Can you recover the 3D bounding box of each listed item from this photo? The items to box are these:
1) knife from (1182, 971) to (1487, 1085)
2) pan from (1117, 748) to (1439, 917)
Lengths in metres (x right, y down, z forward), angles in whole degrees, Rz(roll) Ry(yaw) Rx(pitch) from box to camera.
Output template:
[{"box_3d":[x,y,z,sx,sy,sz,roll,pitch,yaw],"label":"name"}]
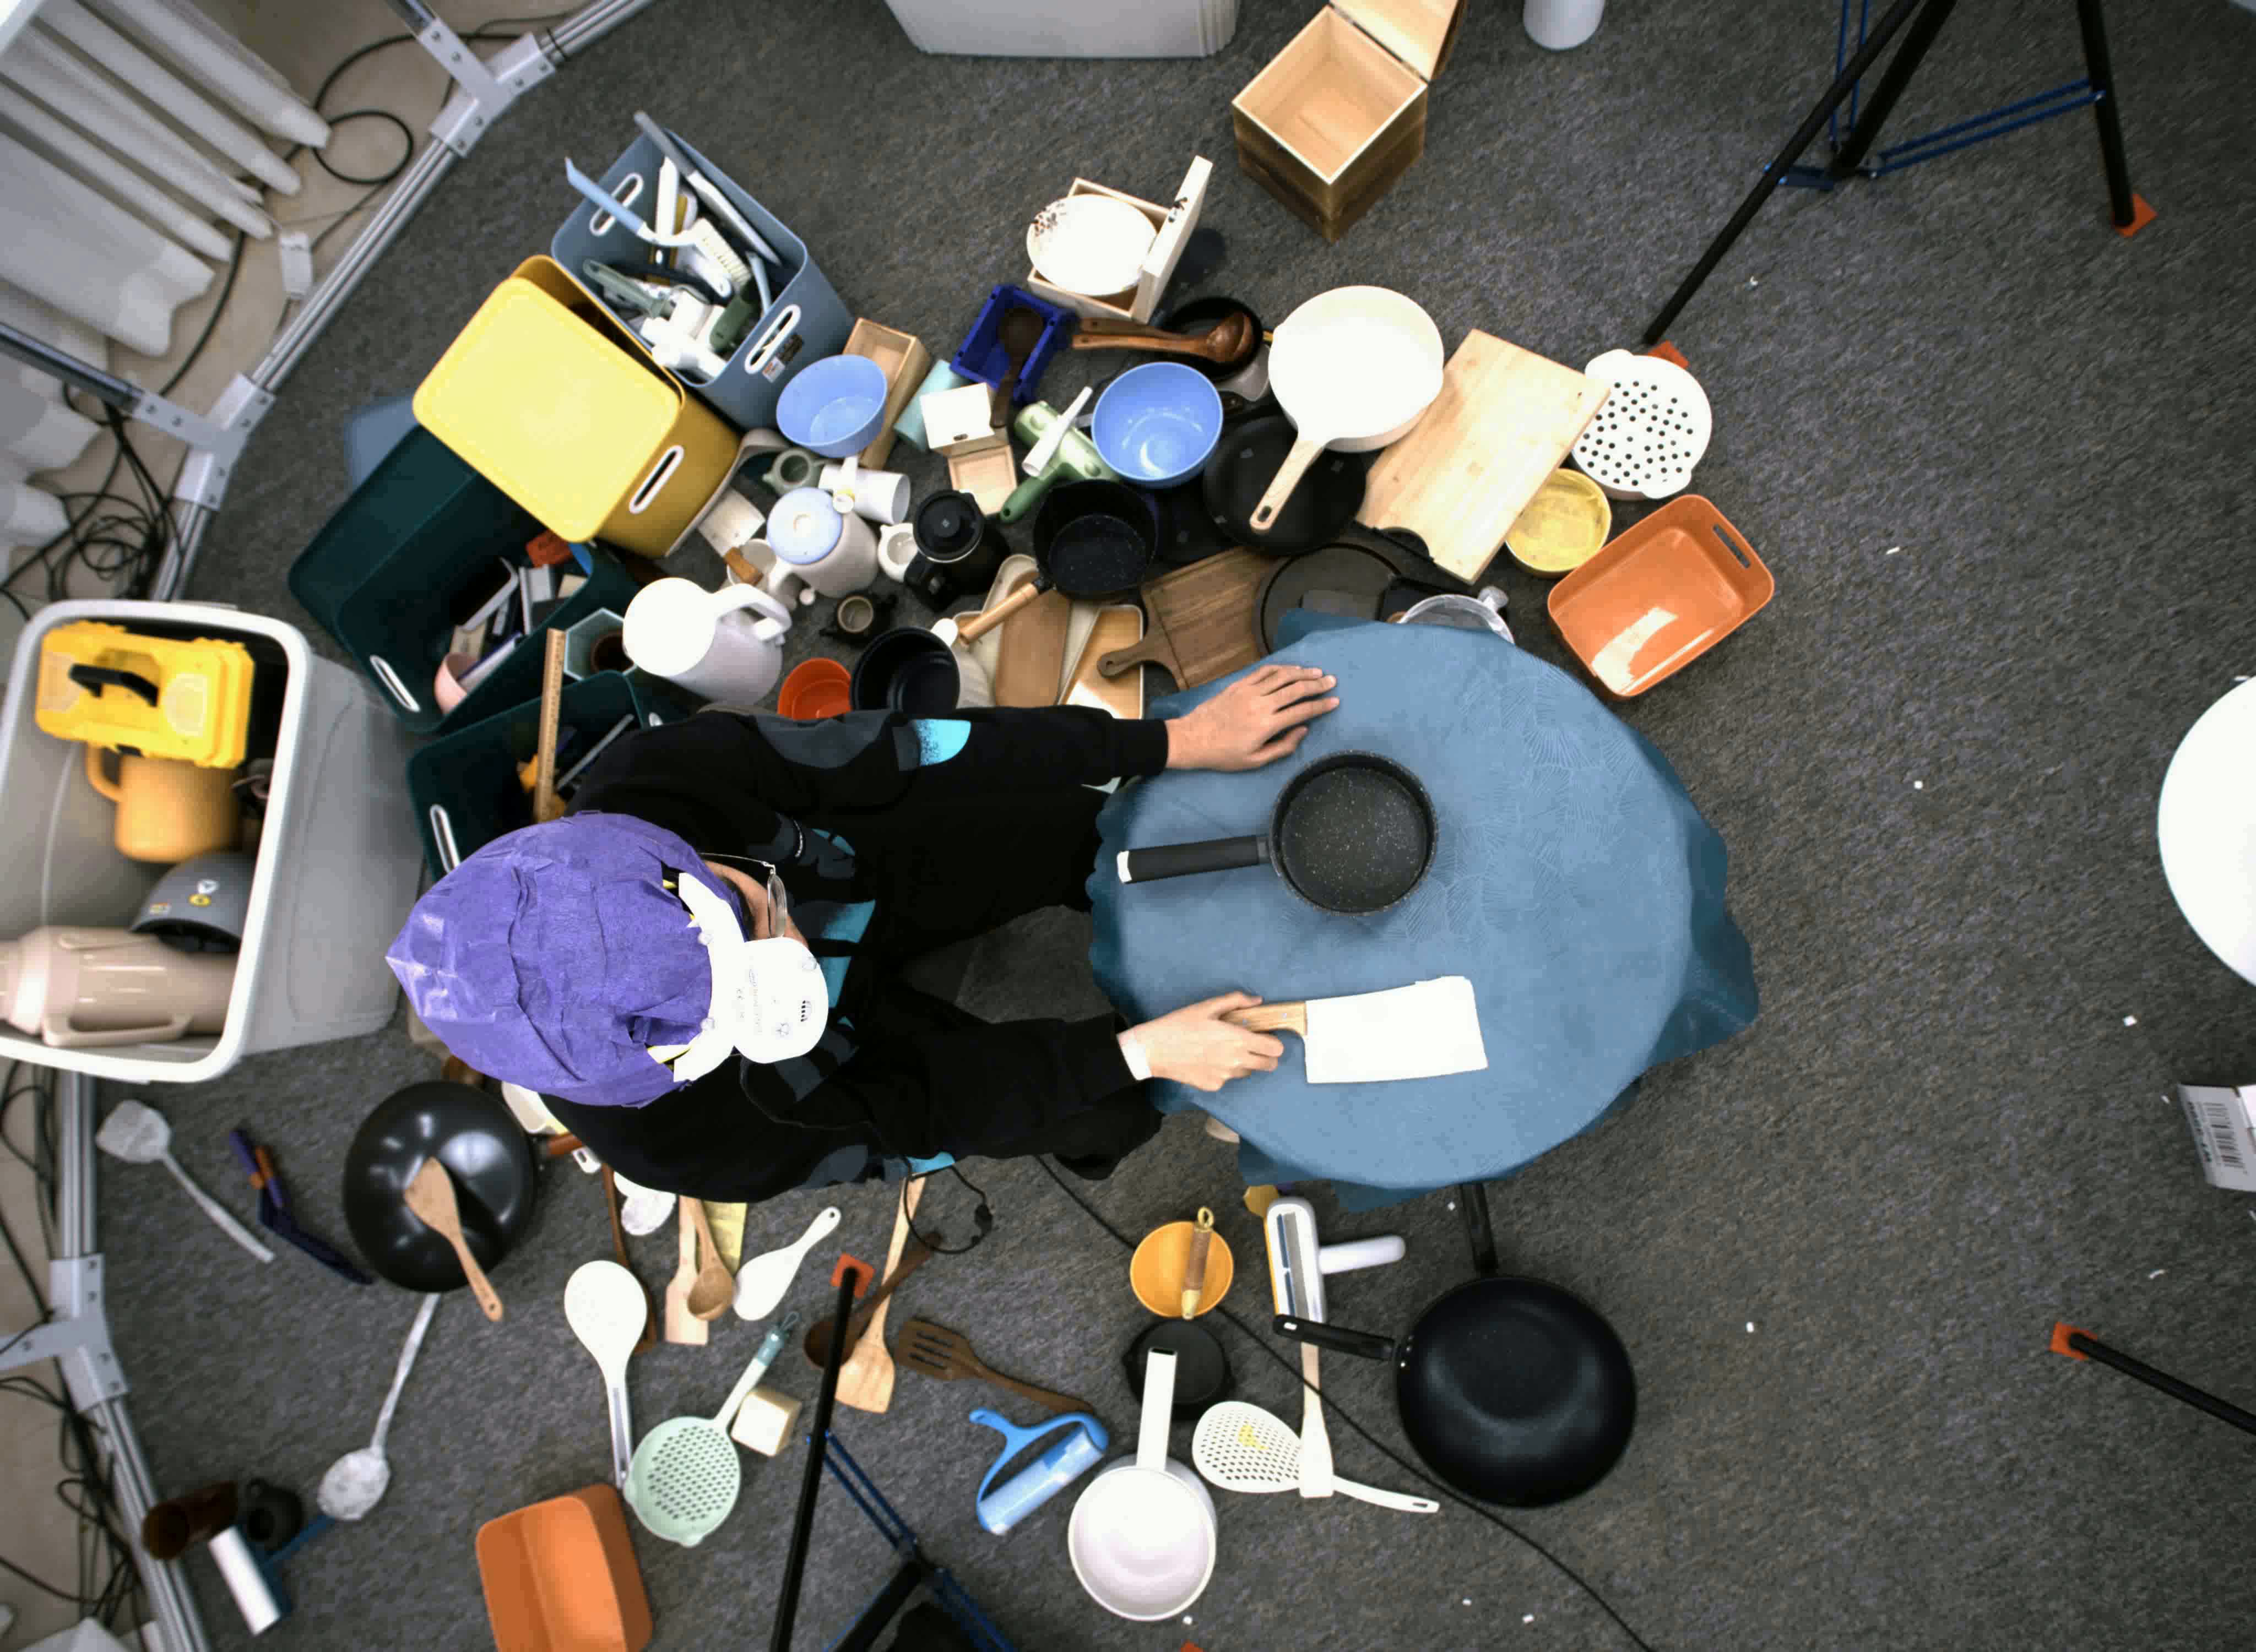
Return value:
[{"box_3d":[0.215,0.213,1.453,0.316,0.022,0.113,-3,87,8],"label":"knife"},{"box_3d":[0.155,0.018,1.442,0.330,0.087,0.171,-6,83,9],"label":"pan"}]
